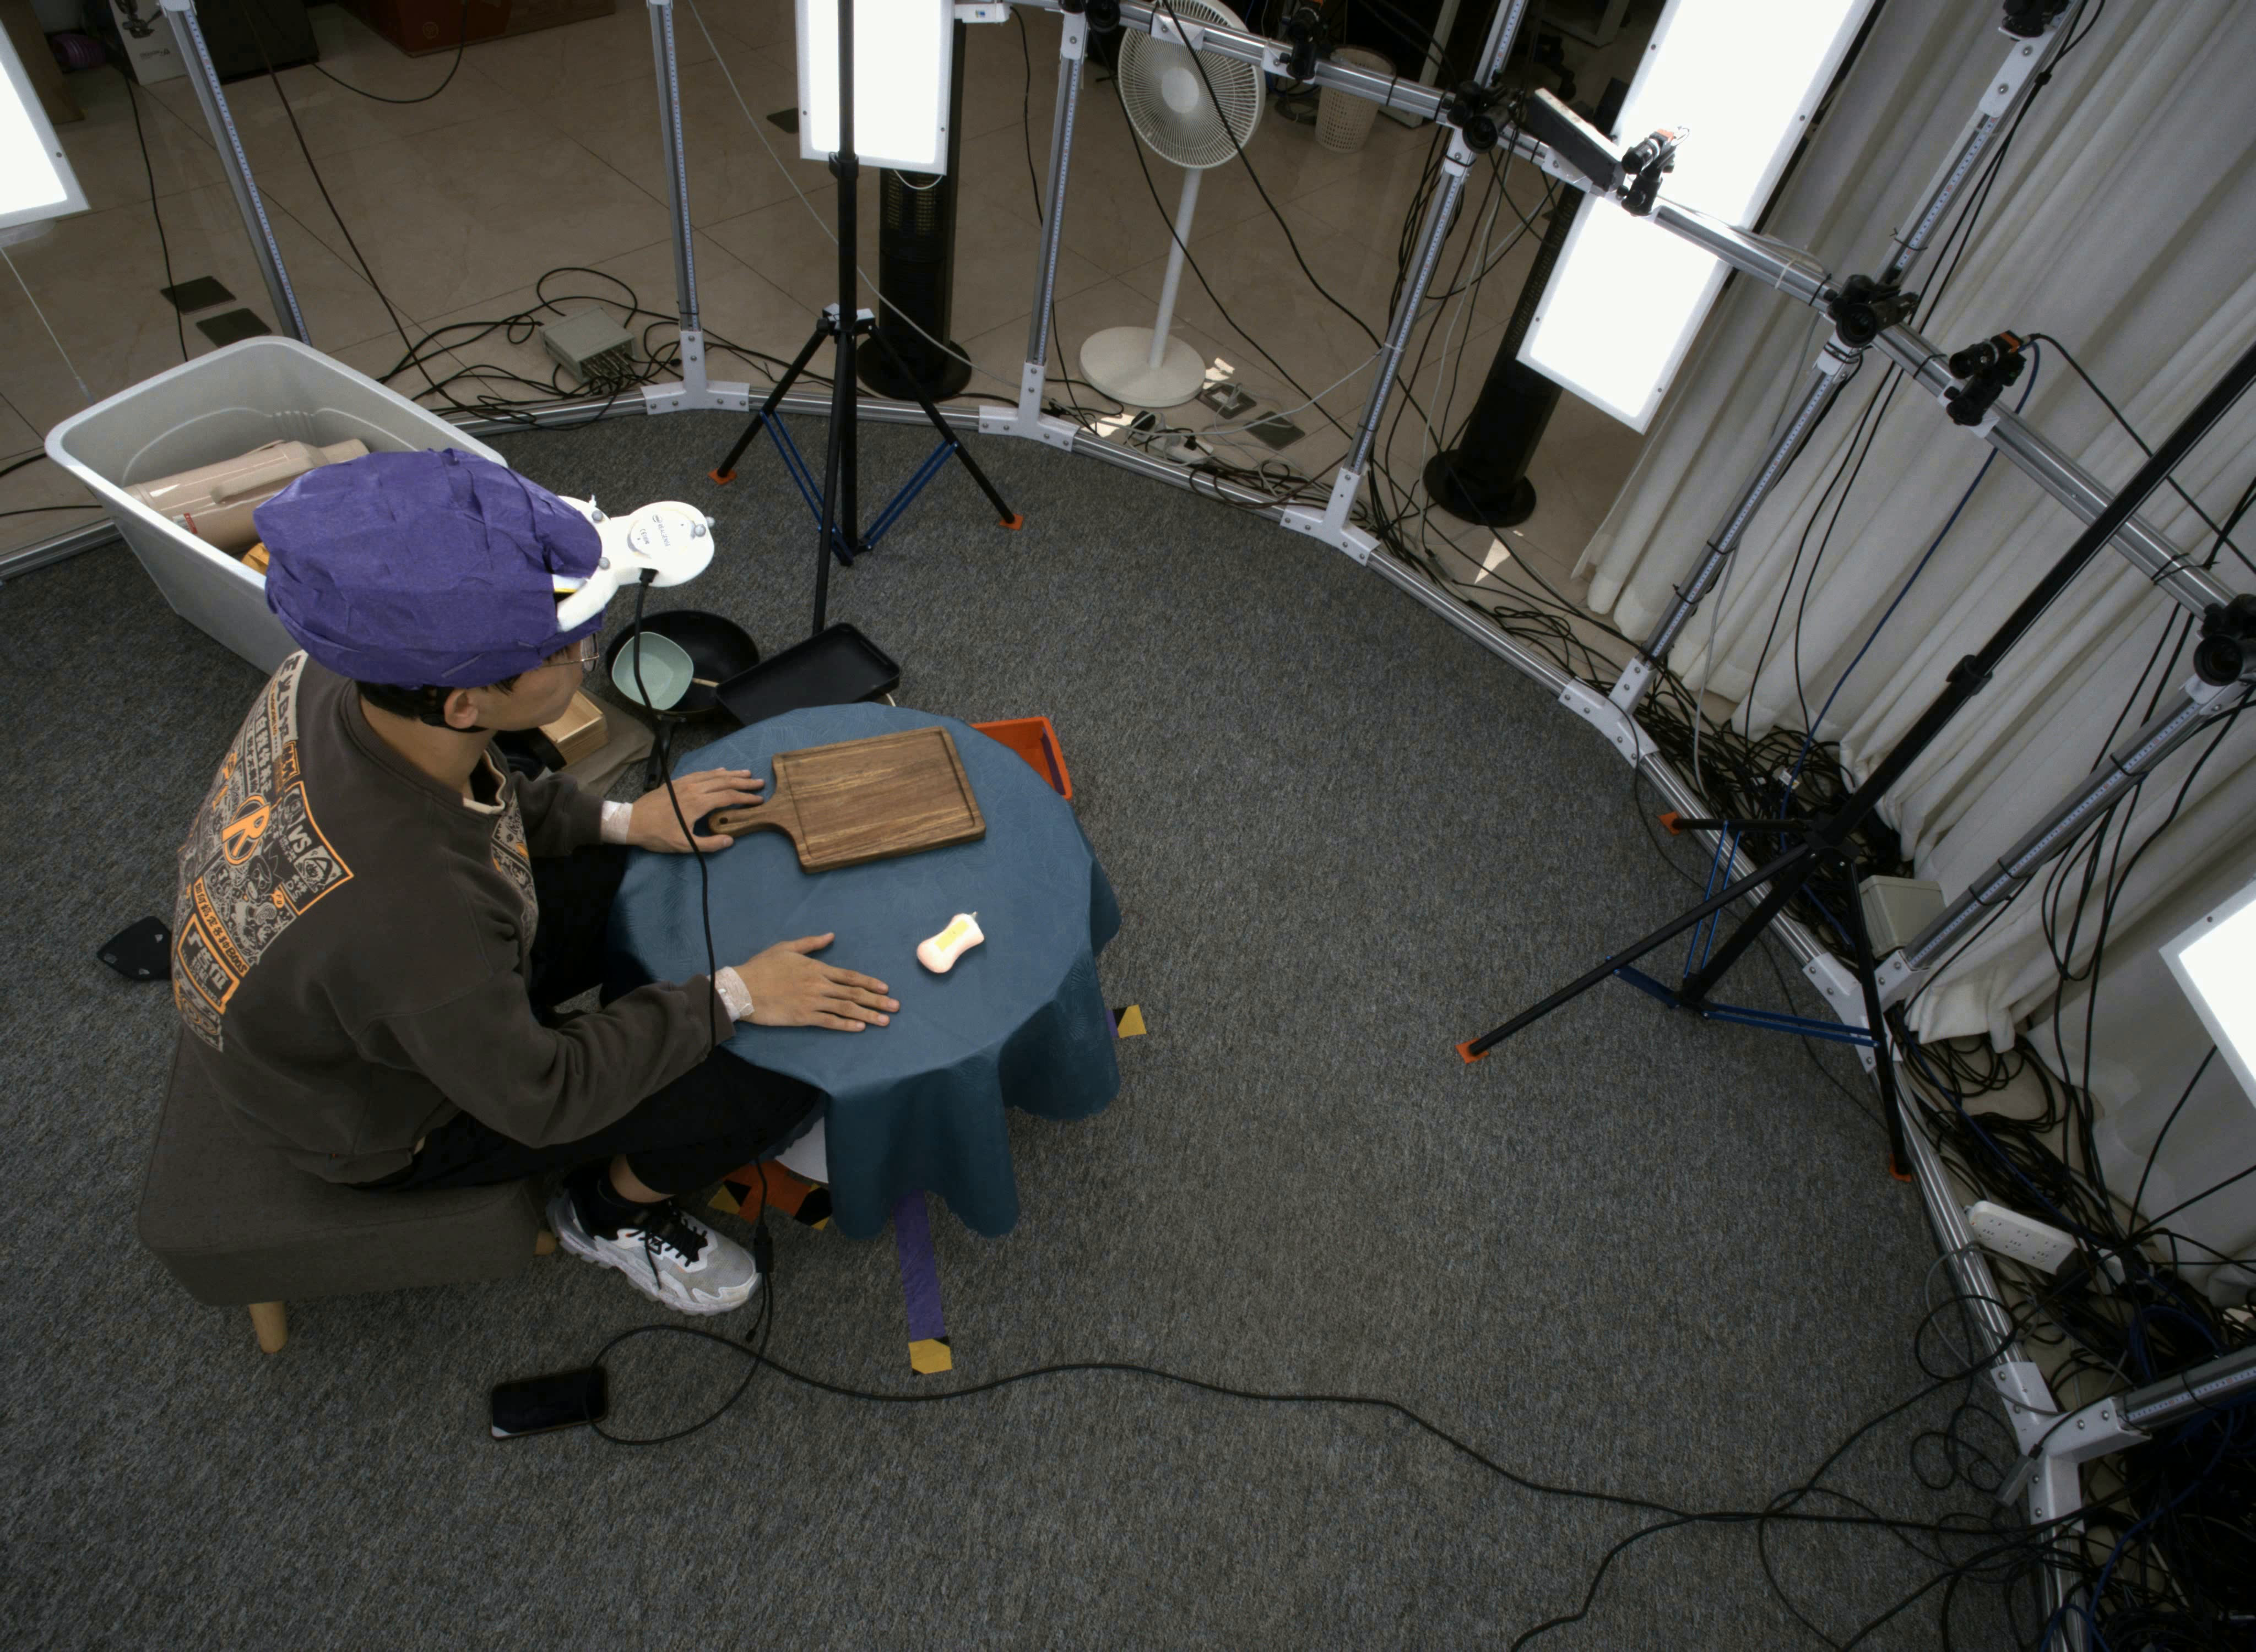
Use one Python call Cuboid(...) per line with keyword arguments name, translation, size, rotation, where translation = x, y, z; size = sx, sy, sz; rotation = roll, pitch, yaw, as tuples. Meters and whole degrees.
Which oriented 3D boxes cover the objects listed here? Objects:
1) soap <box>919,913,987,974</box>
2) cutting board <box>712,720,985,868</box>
Cuboid(name="soap", translation=(-0.223, 0.147, 1.662), size=(0.049, 0.031, 0.094), rotation=(38, 56, 17))
Cuboid(name="cutting board", translation=(-0.386, -0.040, 1.764), size=(0.353, 0.023, 0.196), rotation=(-11, 58, -21))
